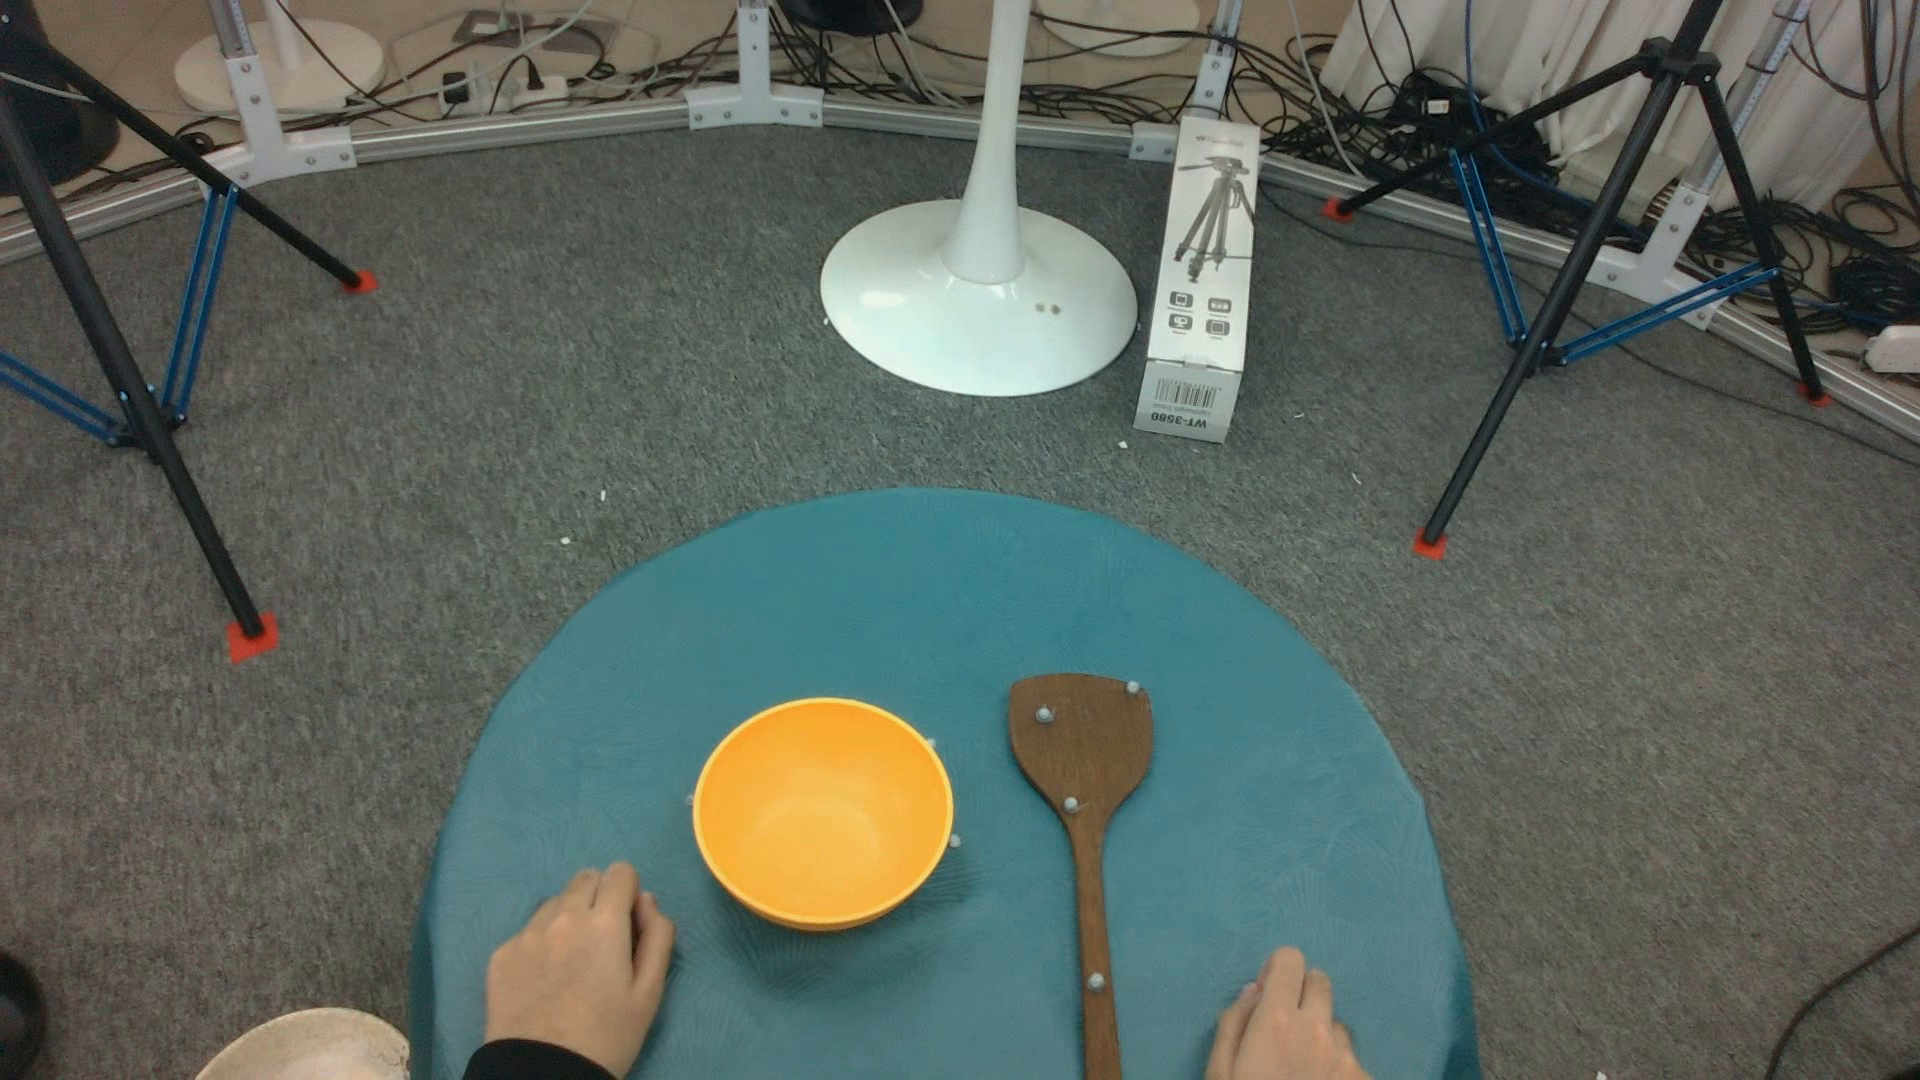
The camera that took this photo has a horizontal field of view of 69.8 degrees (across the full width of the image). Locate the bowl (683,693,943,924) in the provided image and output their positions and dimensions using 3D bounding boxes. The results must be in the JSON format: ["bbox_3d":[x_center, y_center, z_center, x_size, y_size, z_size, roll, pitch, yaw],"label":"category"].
[{"bbox_3d":[-0.083,0.163,0.790,0.145,0.060,0.146,2,48,-2],"label":"bowl"}]

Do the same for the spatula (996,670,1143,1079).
[{"bbox_3d":[0.070,0.229,0.778,0.096,0.015,0.388,4,47,-4],"label":"spatula"}]
